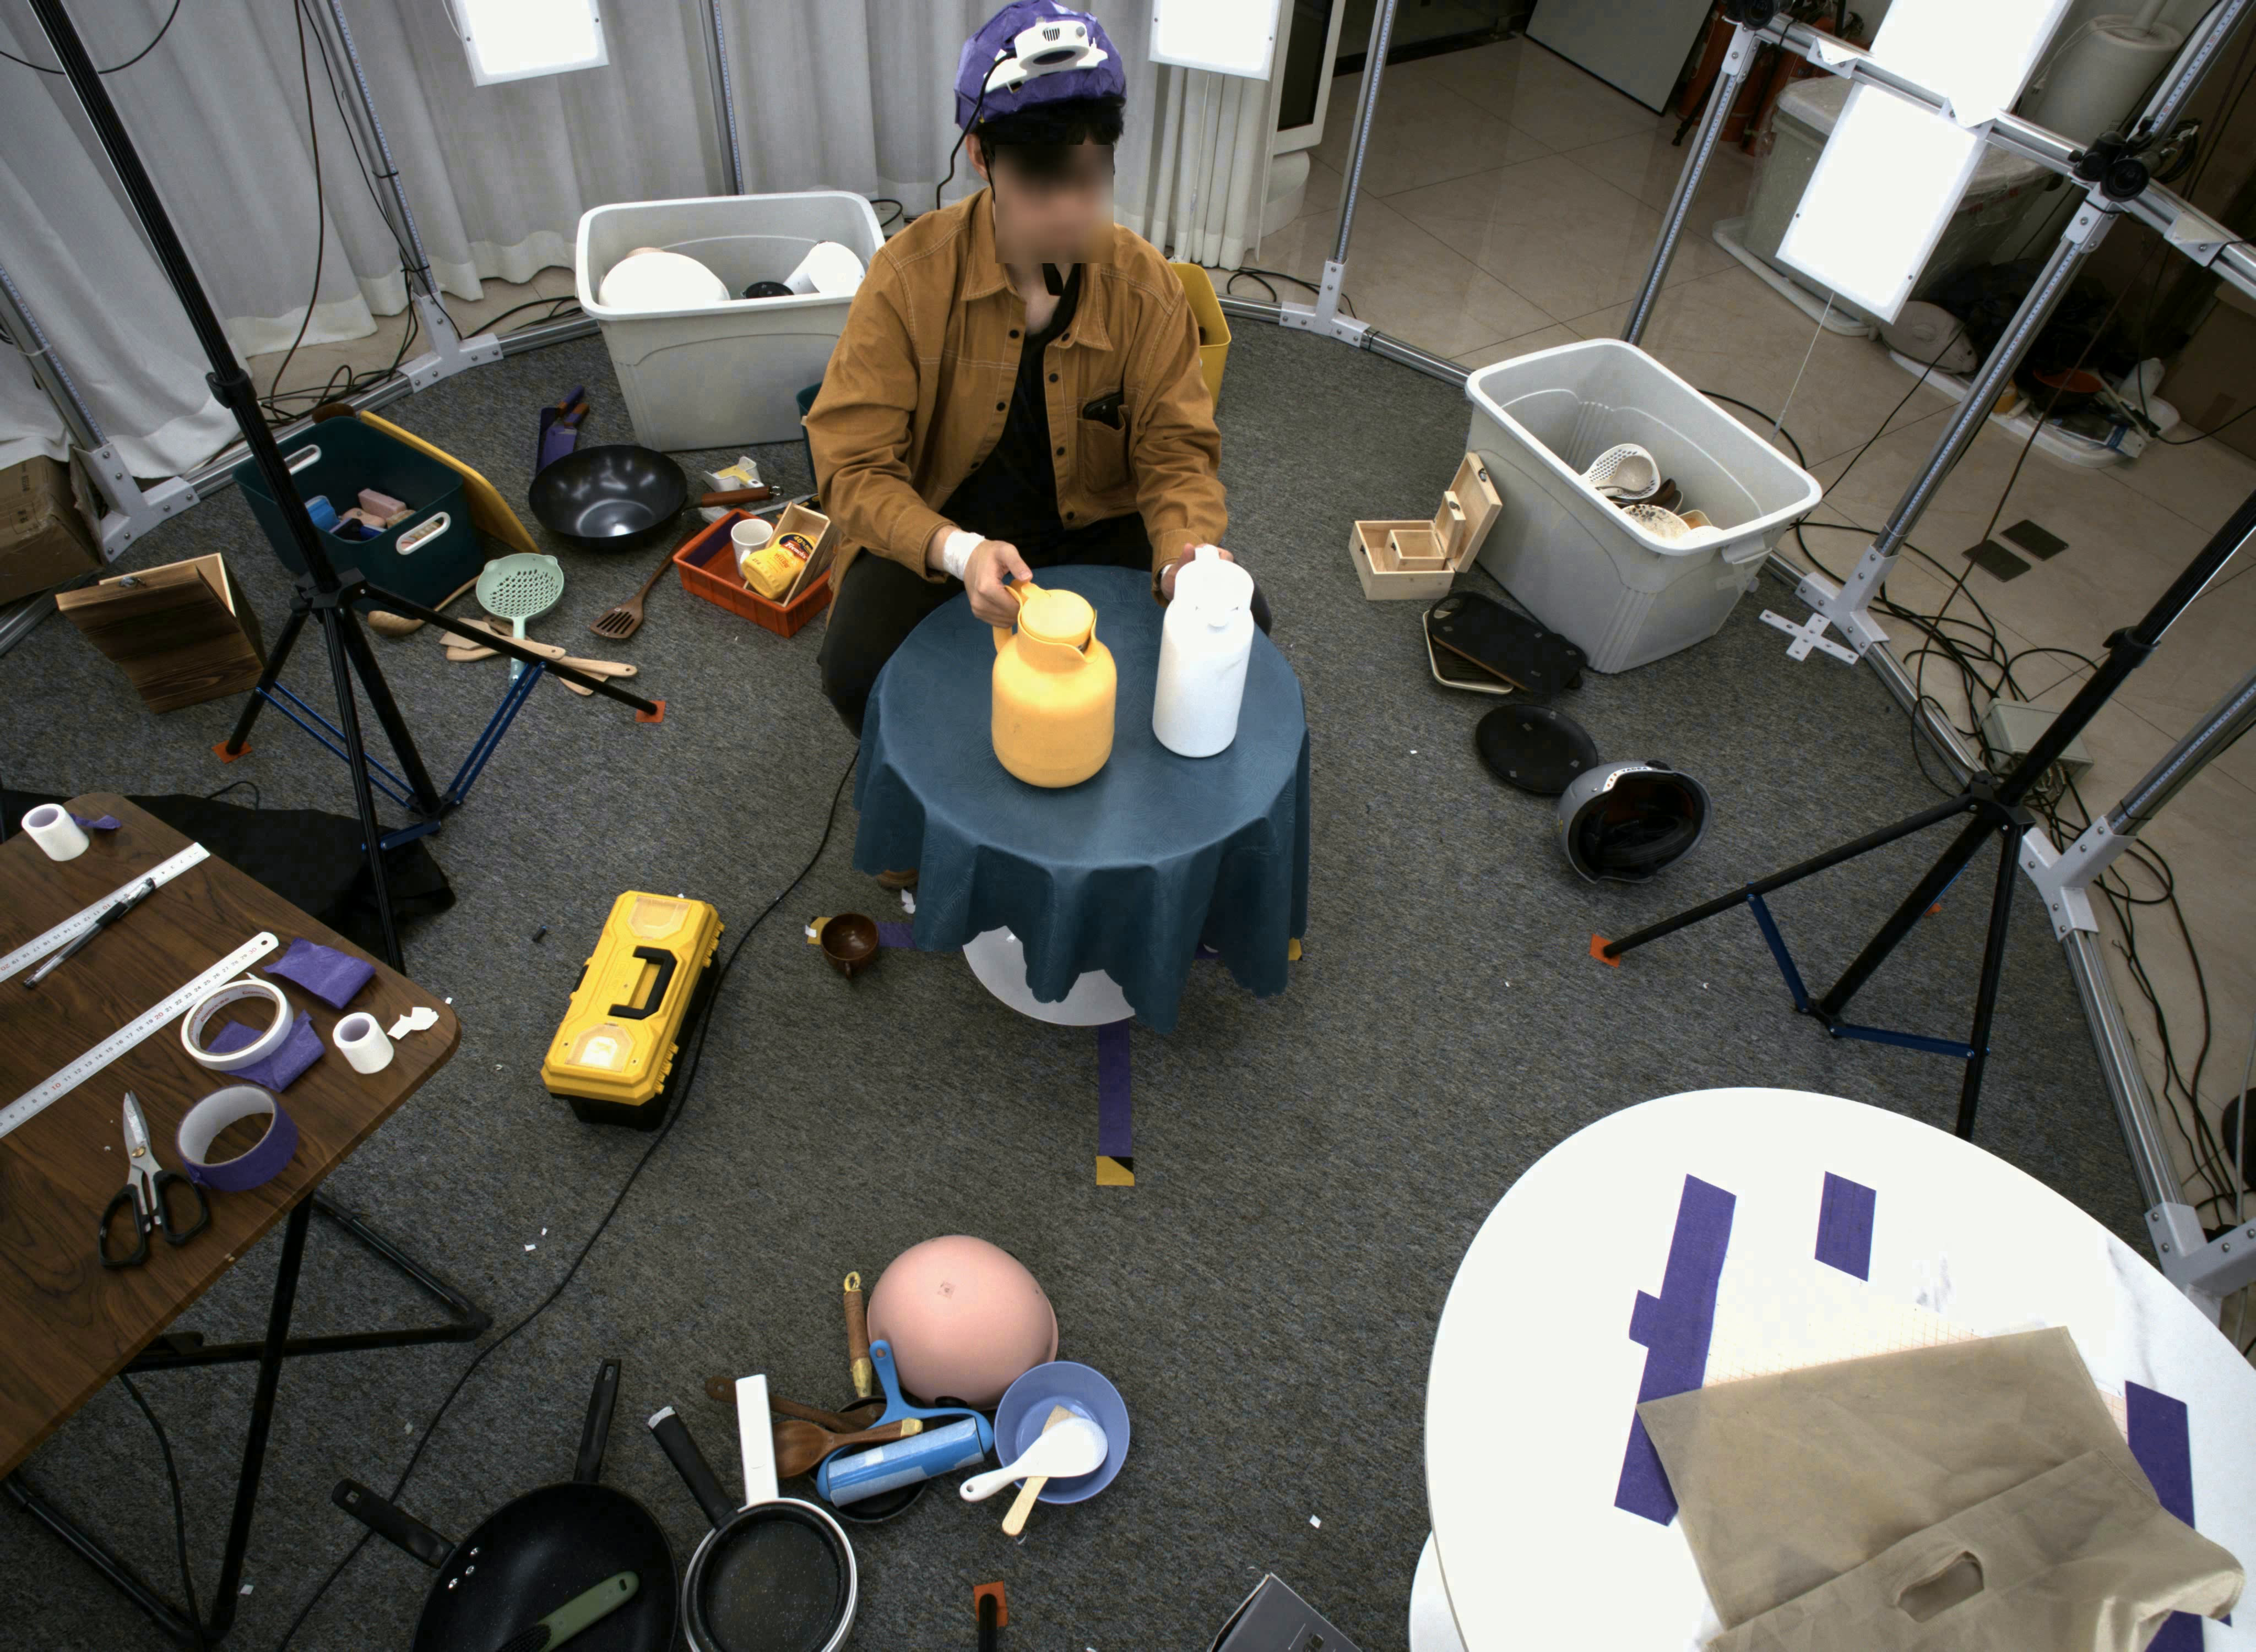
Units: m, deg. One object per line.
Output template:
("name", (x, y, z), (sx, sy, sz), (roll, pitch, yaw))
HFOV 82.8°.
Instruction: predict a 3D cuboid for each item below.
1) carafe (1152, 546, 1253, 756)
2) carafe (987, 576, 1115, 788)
("carafe", (0.096, -0.233, 1.705), (0.124, 0.262, 0.177), (-2, 49, -3))
("carafe", (-0.108, -0.194, 1.662), (0.164, 0.254, 0.206), (-25, 57, -27))
